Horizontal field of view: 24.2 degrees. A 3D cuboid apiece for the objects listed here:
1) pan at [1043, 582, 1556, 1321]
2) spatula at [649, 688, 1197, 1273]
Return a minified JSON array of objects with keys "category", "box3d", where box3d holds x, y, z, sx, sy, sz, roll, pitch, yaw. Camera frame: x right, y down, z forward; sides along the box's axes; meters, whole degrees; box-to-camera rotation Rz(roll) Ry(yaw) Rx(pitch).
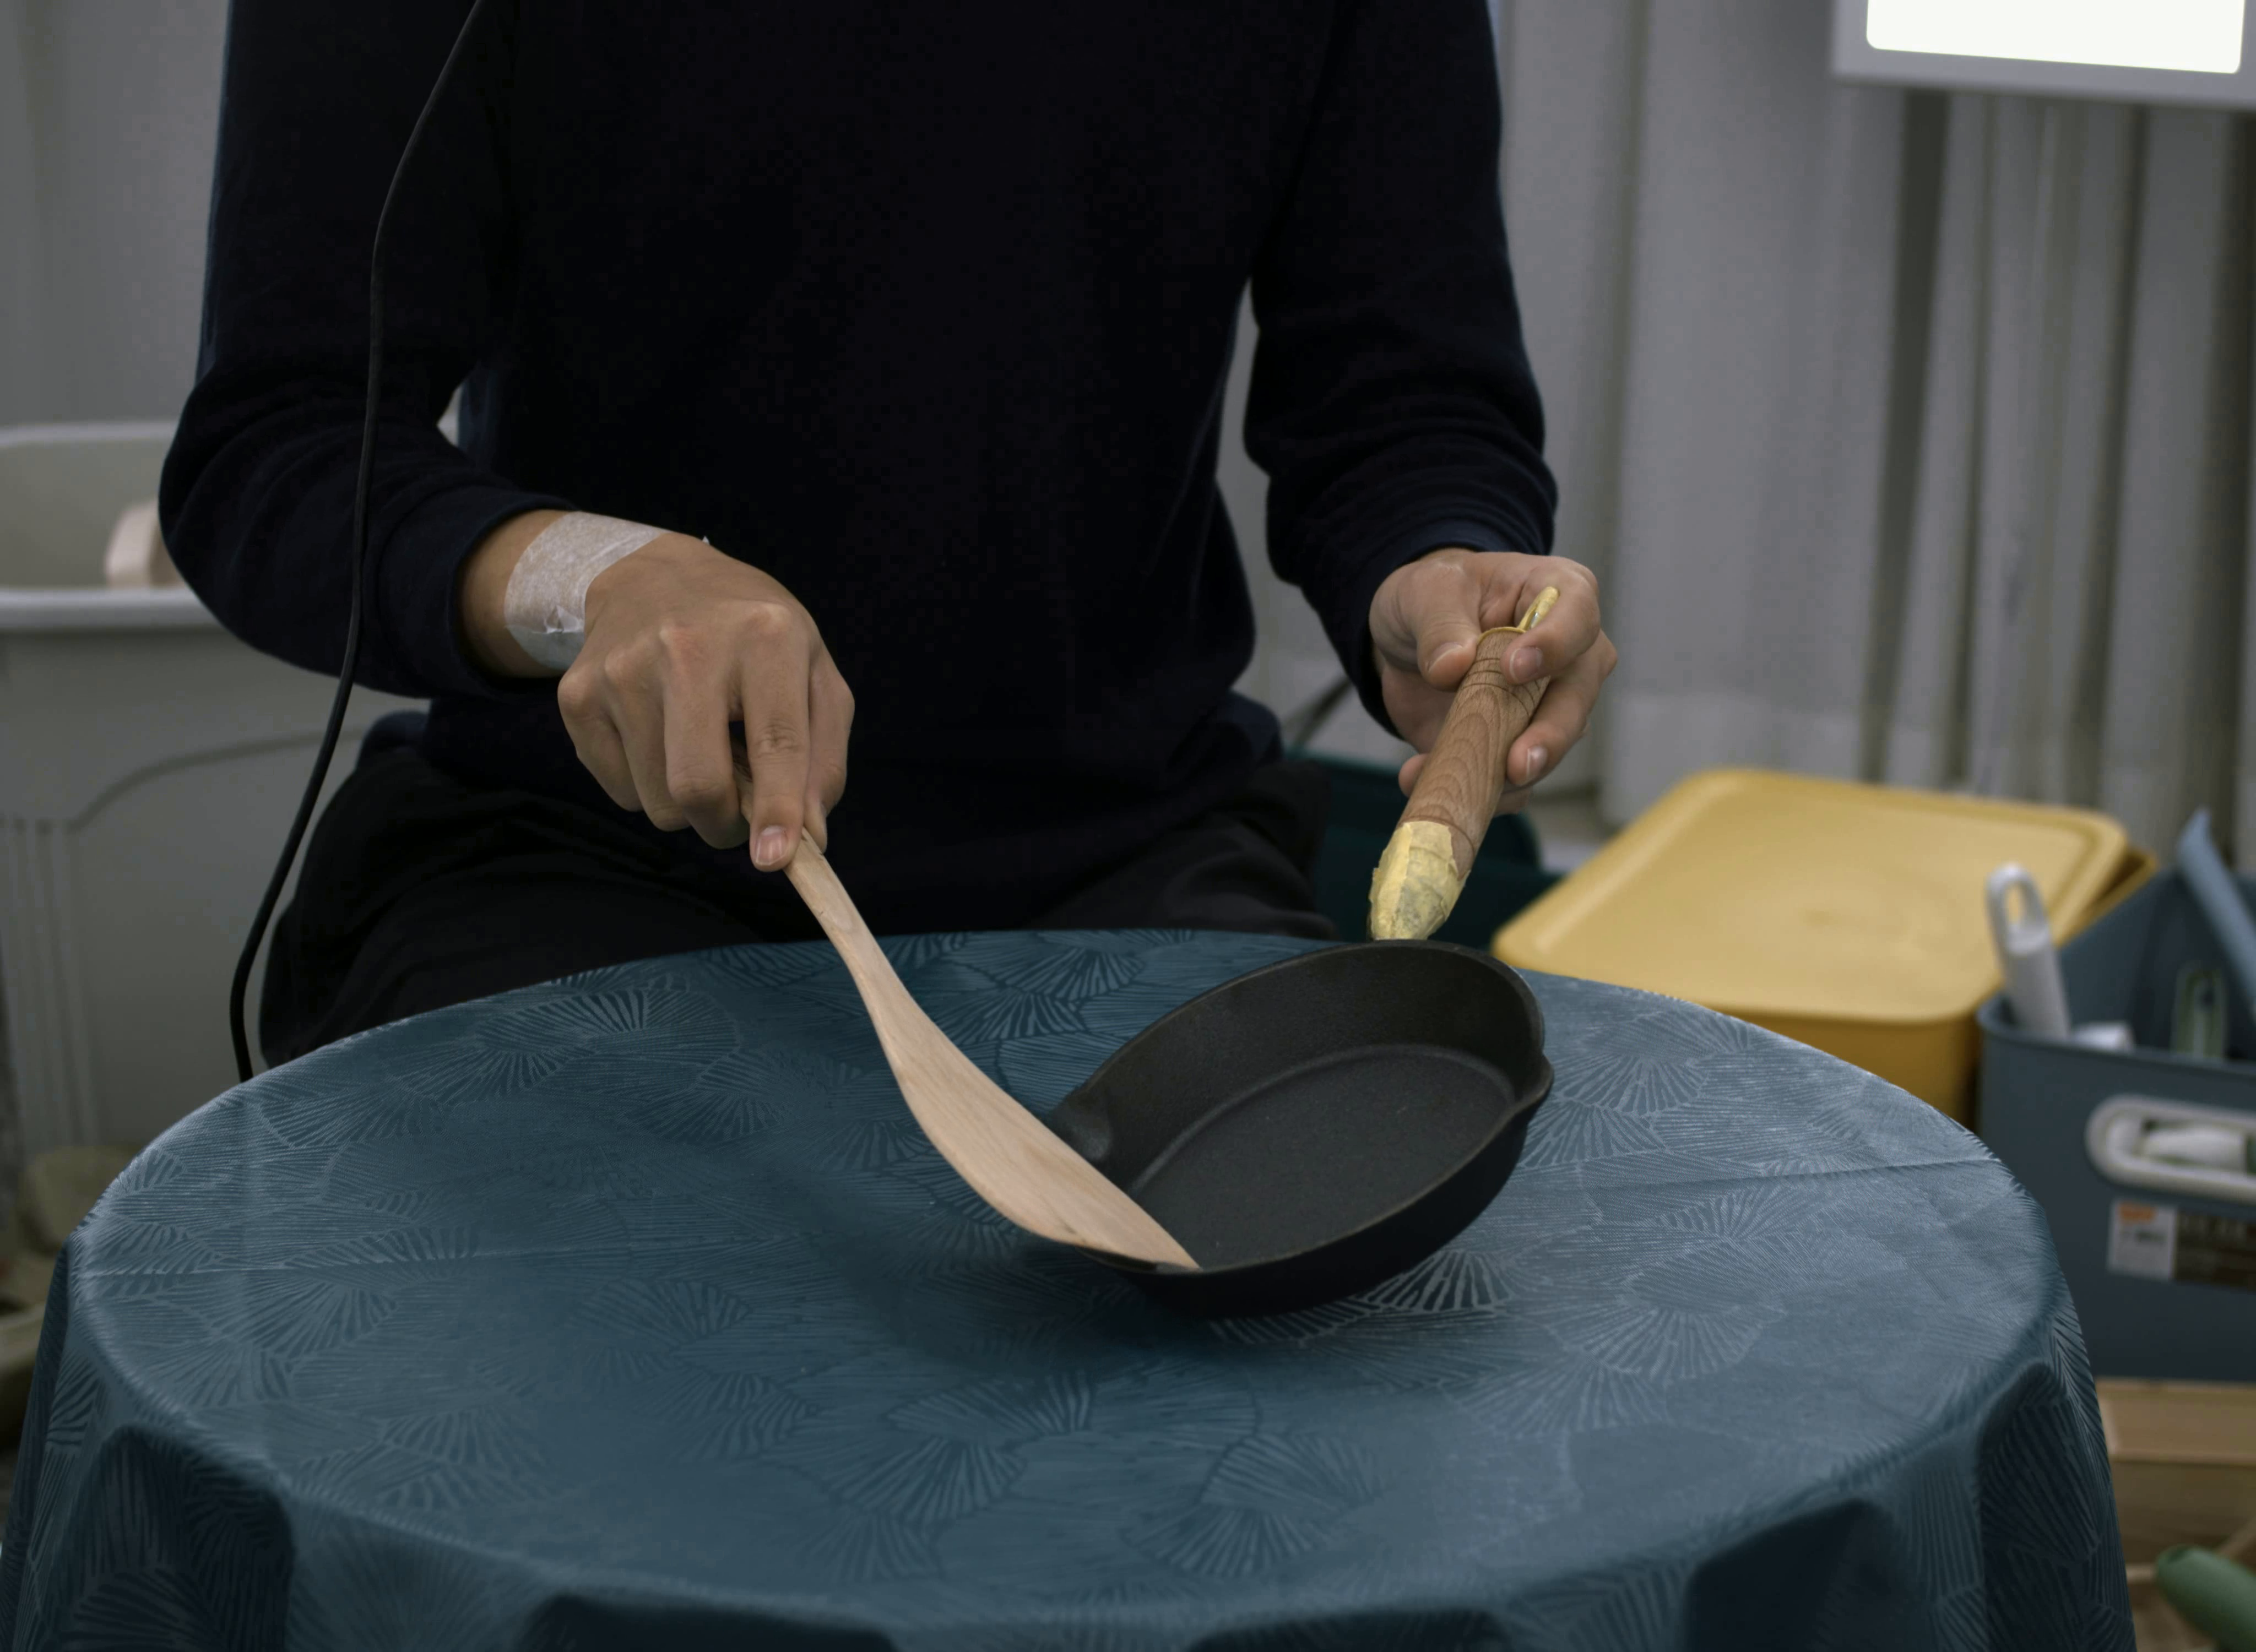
[{"category":"pan","box3d":[0.082,0.035,1.601,0.167,0.050,0.323,-5,36,32]},{"category":"spatula","box3d":[-0.073,0.042,1.594,0.081,0.016,0.323,22,19,-41]}]
